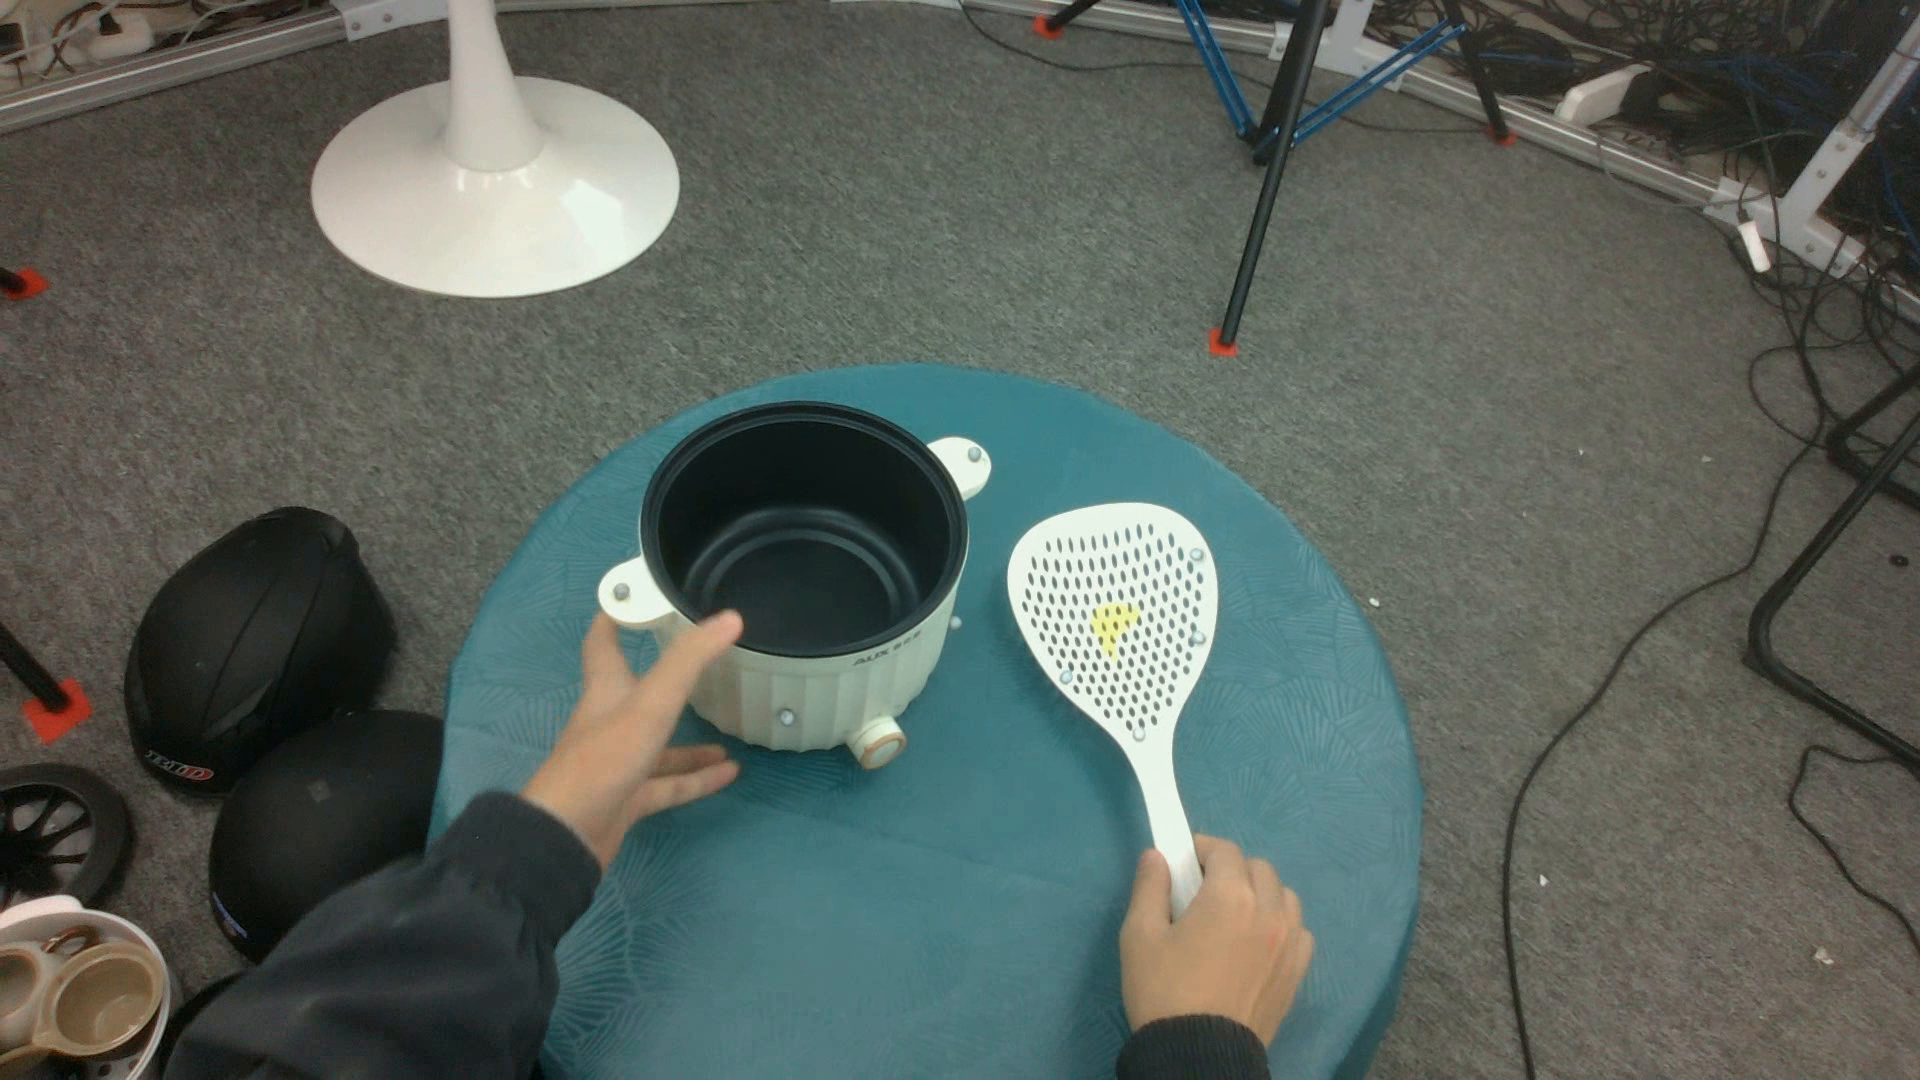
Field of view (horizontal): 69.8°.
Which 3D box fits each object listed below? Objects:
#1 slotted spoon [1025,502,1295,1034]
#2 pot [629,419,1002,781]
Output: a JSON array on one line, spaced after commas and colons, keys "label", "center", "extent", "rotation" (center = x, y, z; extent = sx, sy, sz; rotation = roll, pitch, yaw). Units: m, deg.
[{"label": "slotted spoon", "center": [0.133, 0.123, 0.838], "extent": [0.137, 0.050, 0.349], "rotation": [-13, 51, 0]}, {"label": "pot", "center": [-0.076, 0.043, 0.825], "extent": [0.241, 0.142, 0.191], "rotation": [-27, 55, -23]}]
